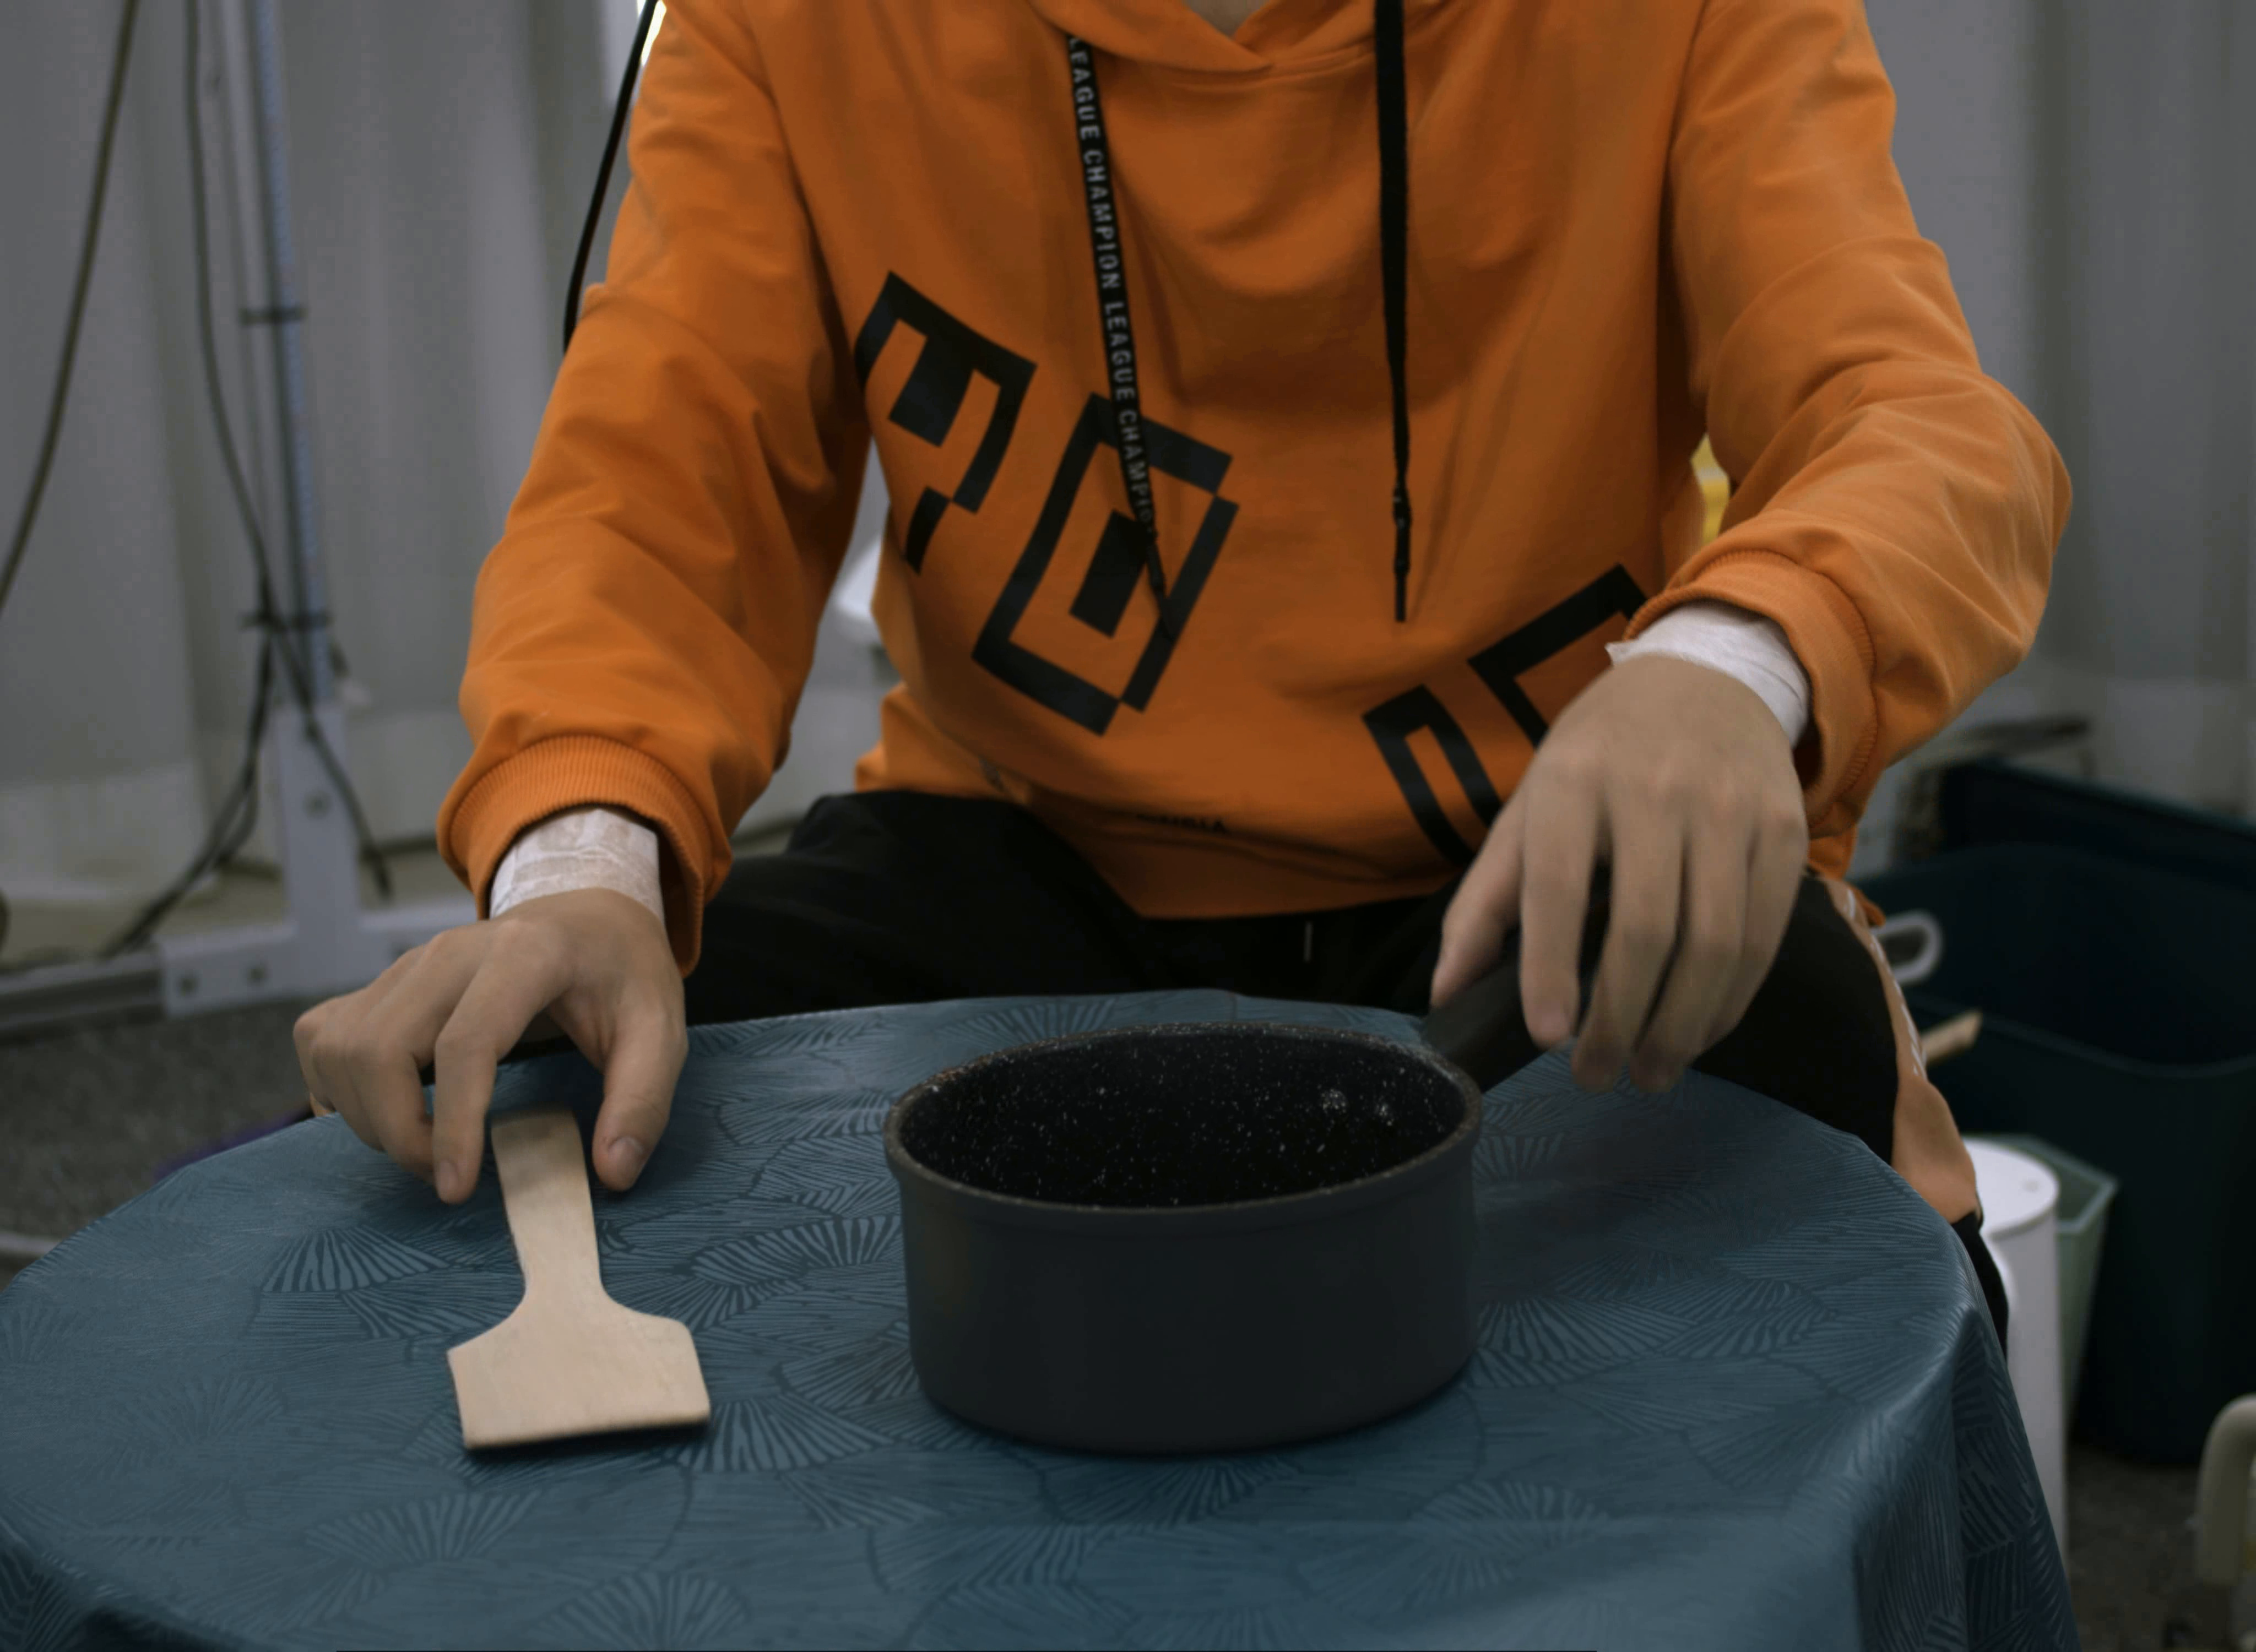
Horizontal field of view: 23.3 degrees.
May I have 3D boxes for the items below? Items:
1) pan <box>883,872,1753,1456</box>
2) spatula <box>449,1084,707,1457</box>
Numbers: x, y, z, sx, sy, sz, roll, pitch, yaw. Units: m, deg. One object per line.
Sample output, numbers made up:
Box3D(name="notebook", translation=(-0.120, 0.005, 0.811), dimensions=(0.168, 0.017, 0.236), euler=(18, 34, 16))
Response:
Box3D(name="pan", translation=(0.072, 0.095, 1.612), dimensions=(0.173, 0.086, 0.328), euler=(12, 23, 43))
Box3D(name="spatula", translation=(-0.173, 0.131, 1.659), dimensions=(0.072, 0.010, 0.295), euler=(-8, 18, -6))
